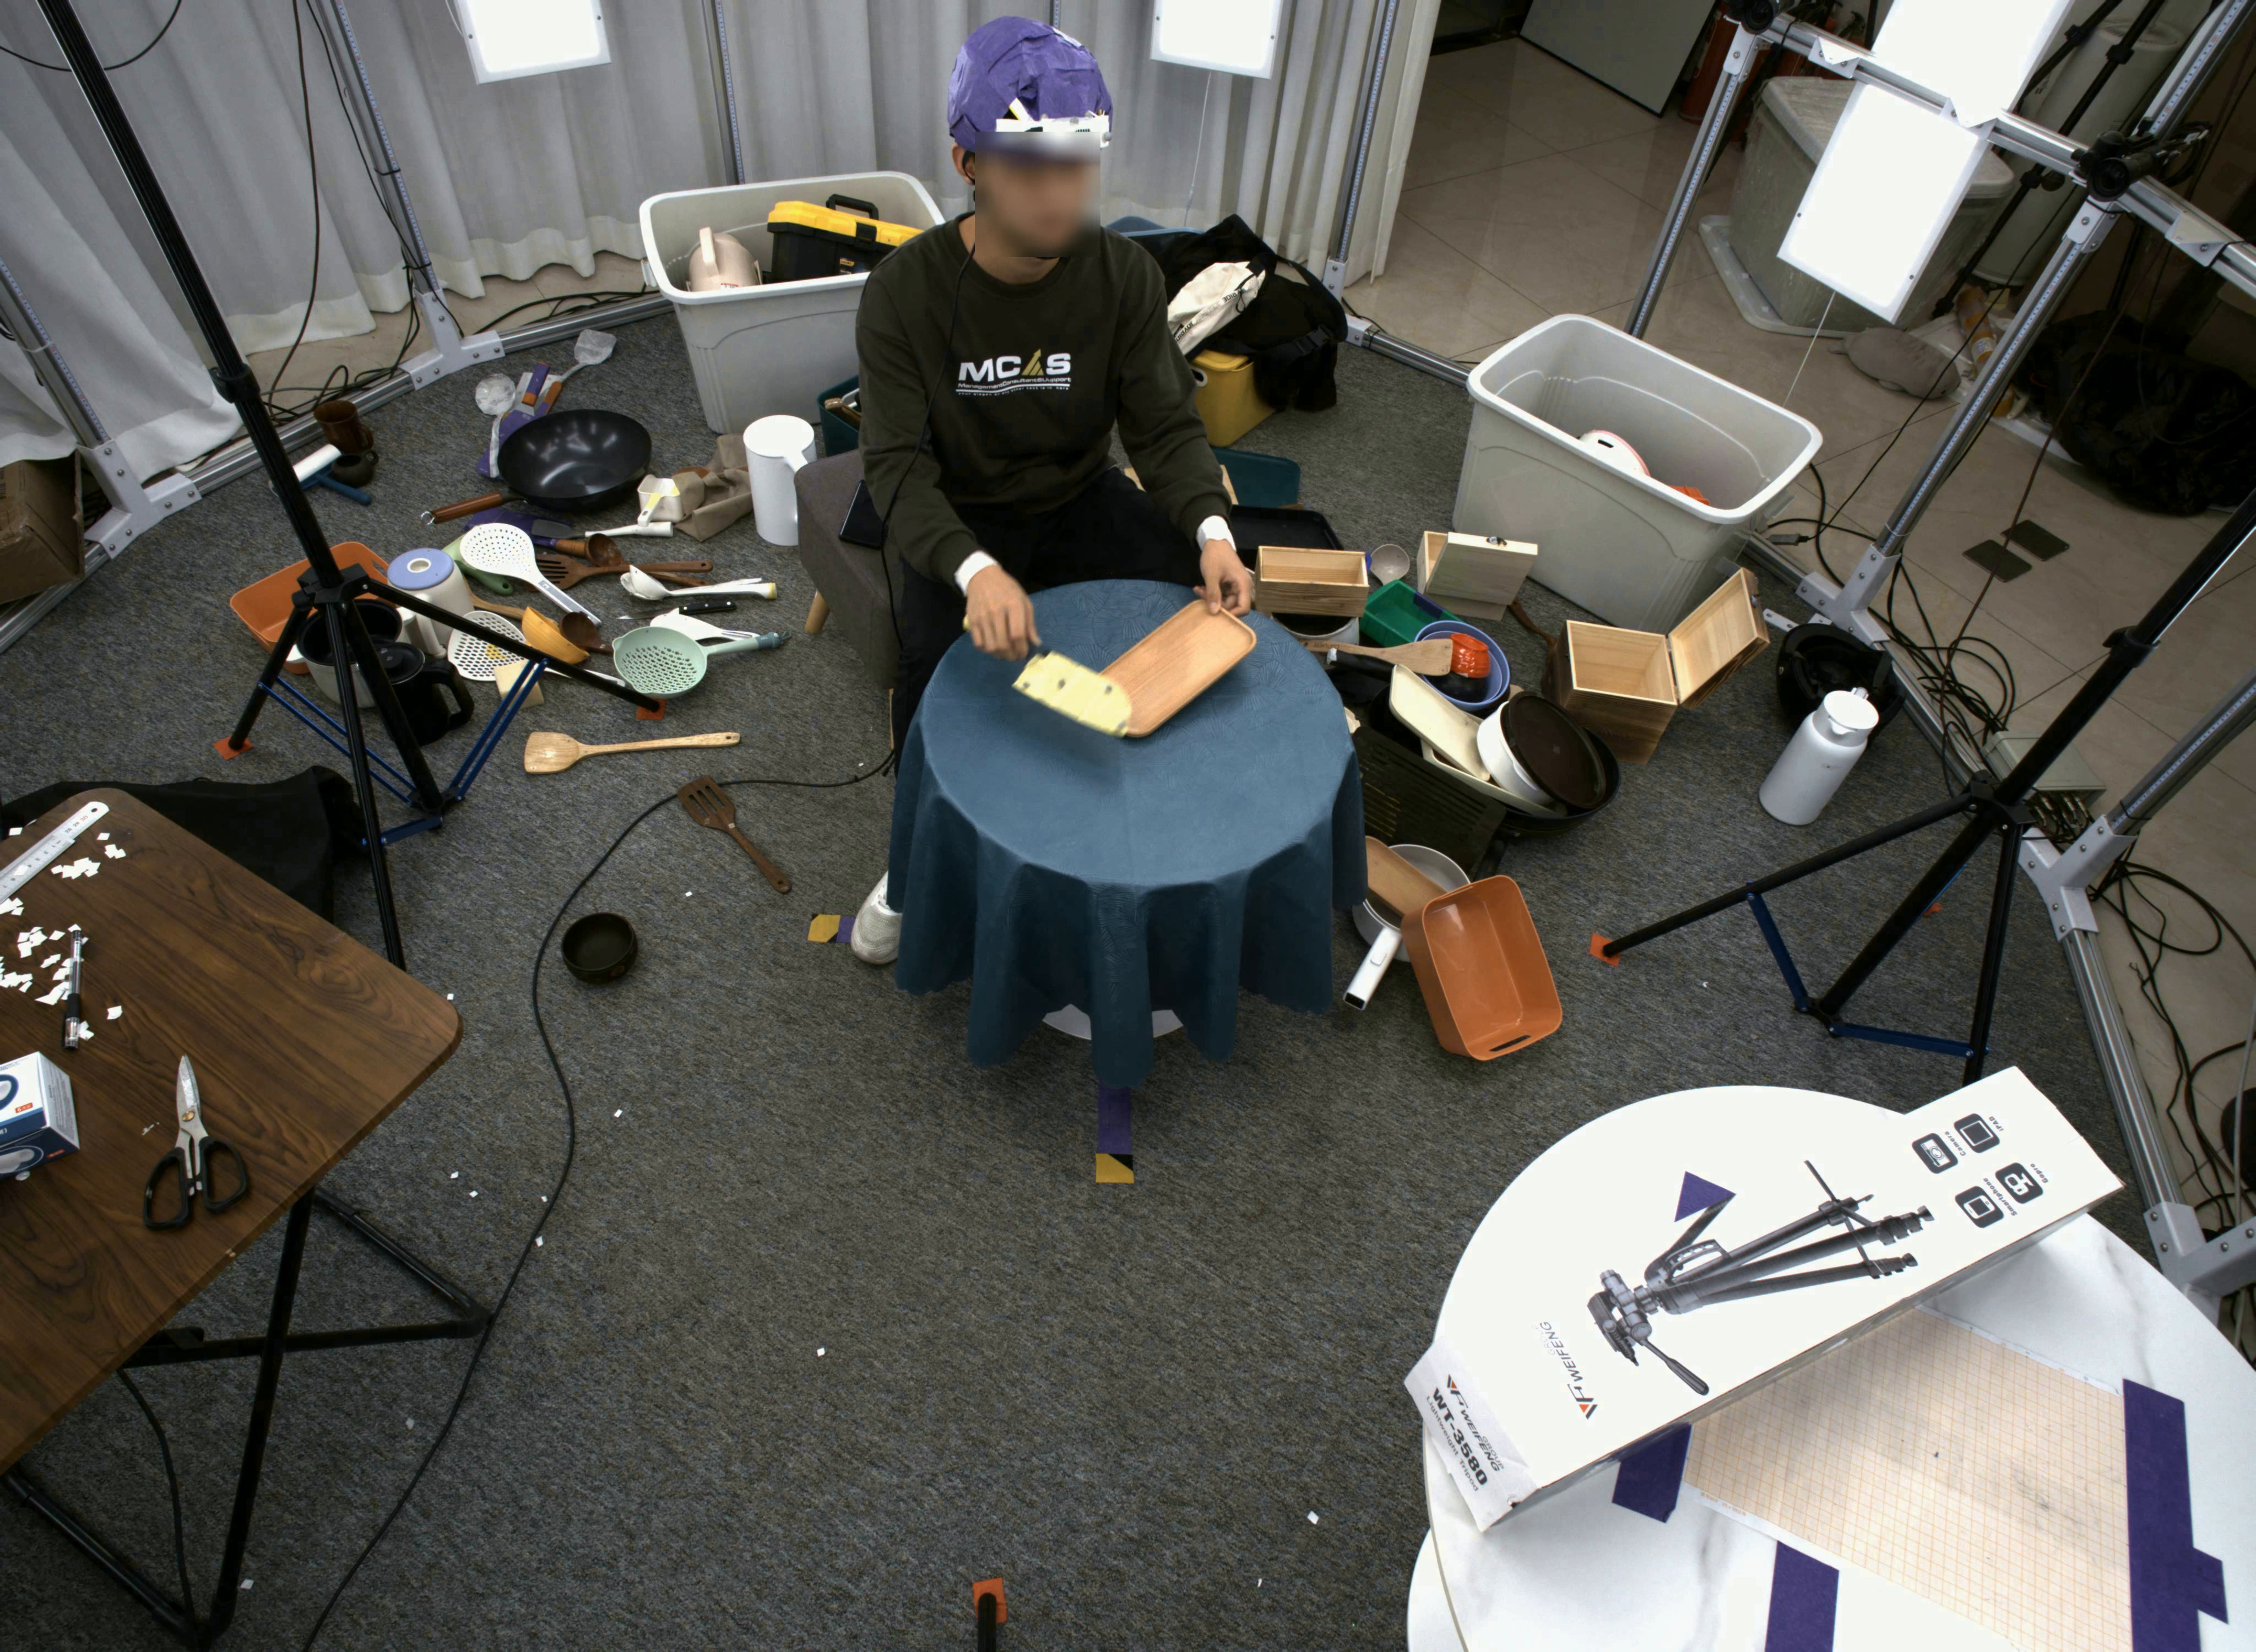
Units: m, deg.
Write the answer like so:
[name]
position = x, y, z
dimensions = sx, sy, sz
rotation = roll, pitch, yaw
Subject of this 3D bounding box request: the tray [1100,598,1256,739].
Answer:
[tray]
position = 0.062, -0.225, 1.824
dimensions = 0.252, 0.022, 0.133
rotation = -40, 59, -17

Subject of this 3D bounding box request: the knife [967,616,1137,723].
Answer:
[knife]
position = -0.109, -0.213, 1.746
dimensions = 0.292, 0.026, 0.082
rotation = 29, 67, 20
